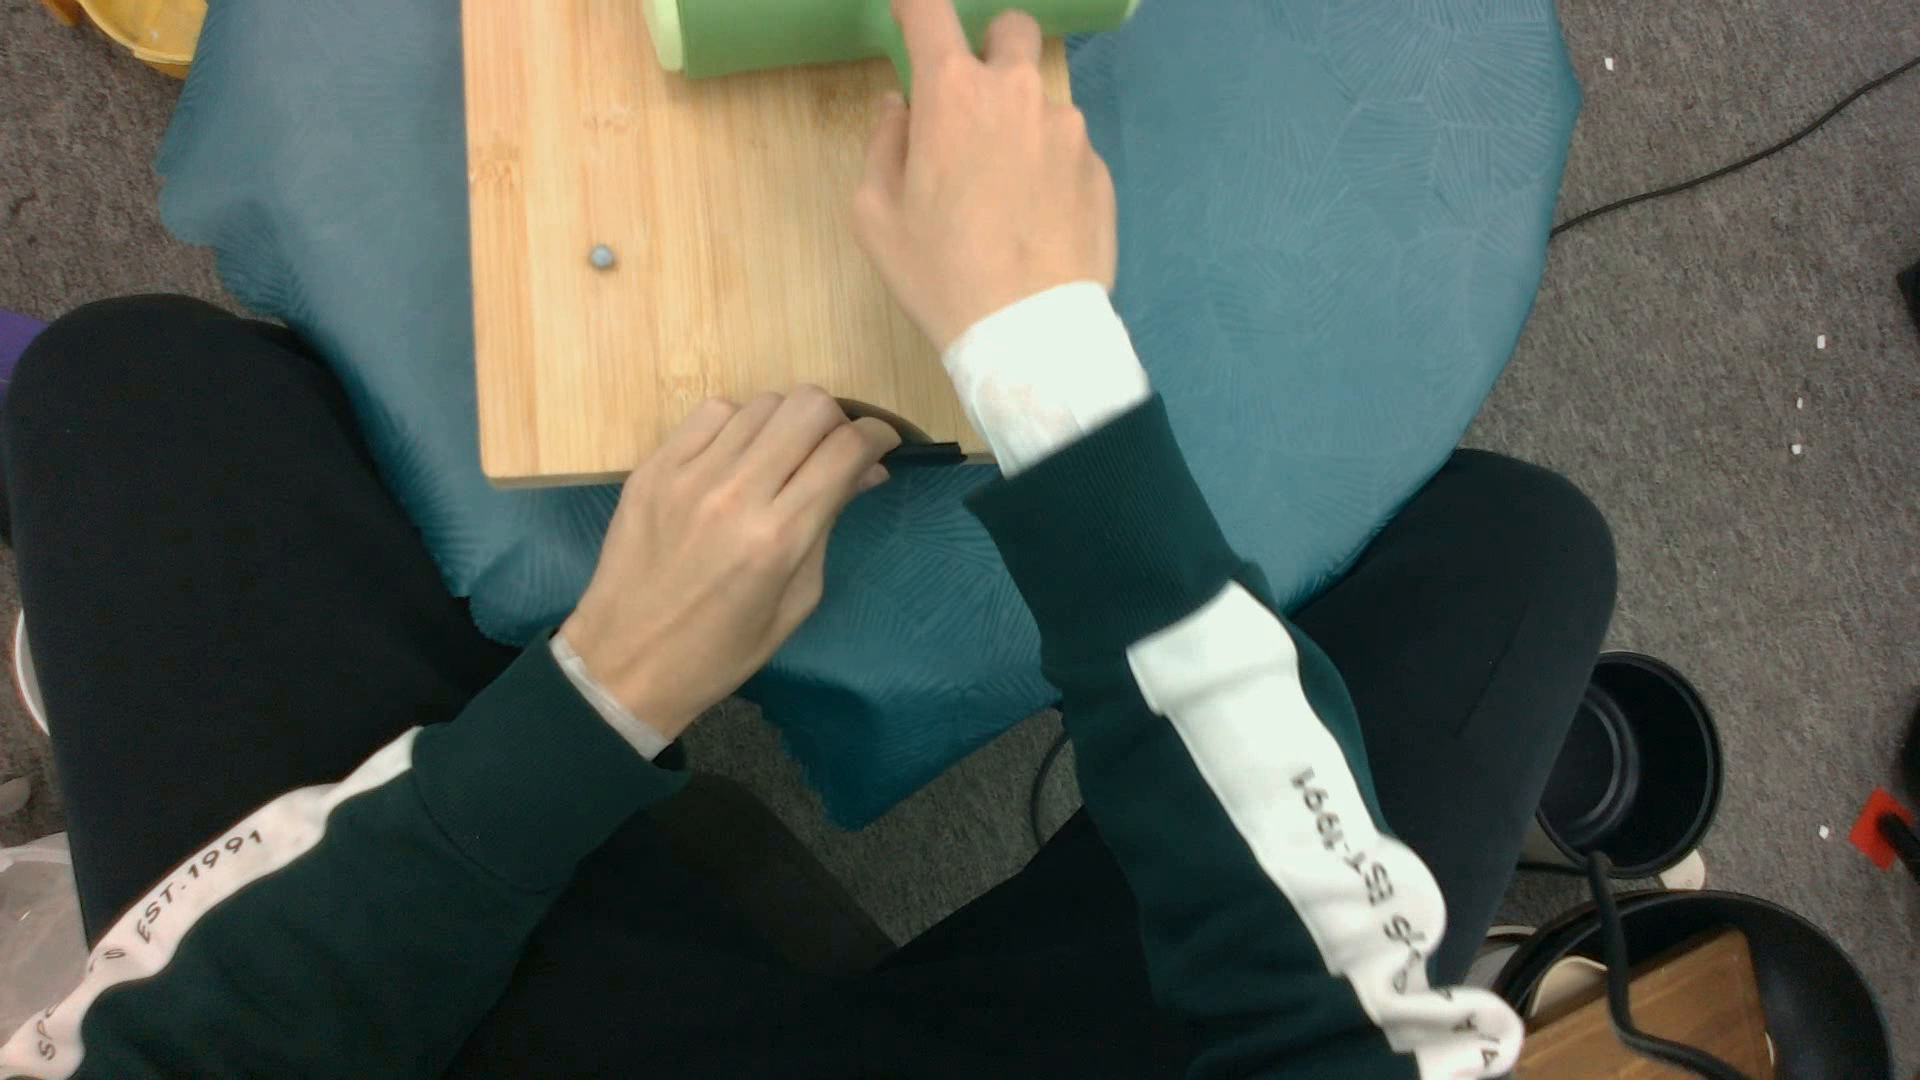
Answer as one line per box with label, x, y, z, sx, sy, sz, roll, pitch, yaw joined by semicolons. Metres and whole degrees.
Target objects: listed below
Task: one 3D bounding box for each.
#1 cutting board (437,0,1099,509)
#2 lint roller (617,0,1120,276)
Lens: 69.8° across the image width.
cutting board;-0.086;-0.190;0.562;0.251;0.023;0.349;-6;77;-13
lint roller;-0.016;-0.182;0.503;0.199;0.082;0.184;-12;53;-15
